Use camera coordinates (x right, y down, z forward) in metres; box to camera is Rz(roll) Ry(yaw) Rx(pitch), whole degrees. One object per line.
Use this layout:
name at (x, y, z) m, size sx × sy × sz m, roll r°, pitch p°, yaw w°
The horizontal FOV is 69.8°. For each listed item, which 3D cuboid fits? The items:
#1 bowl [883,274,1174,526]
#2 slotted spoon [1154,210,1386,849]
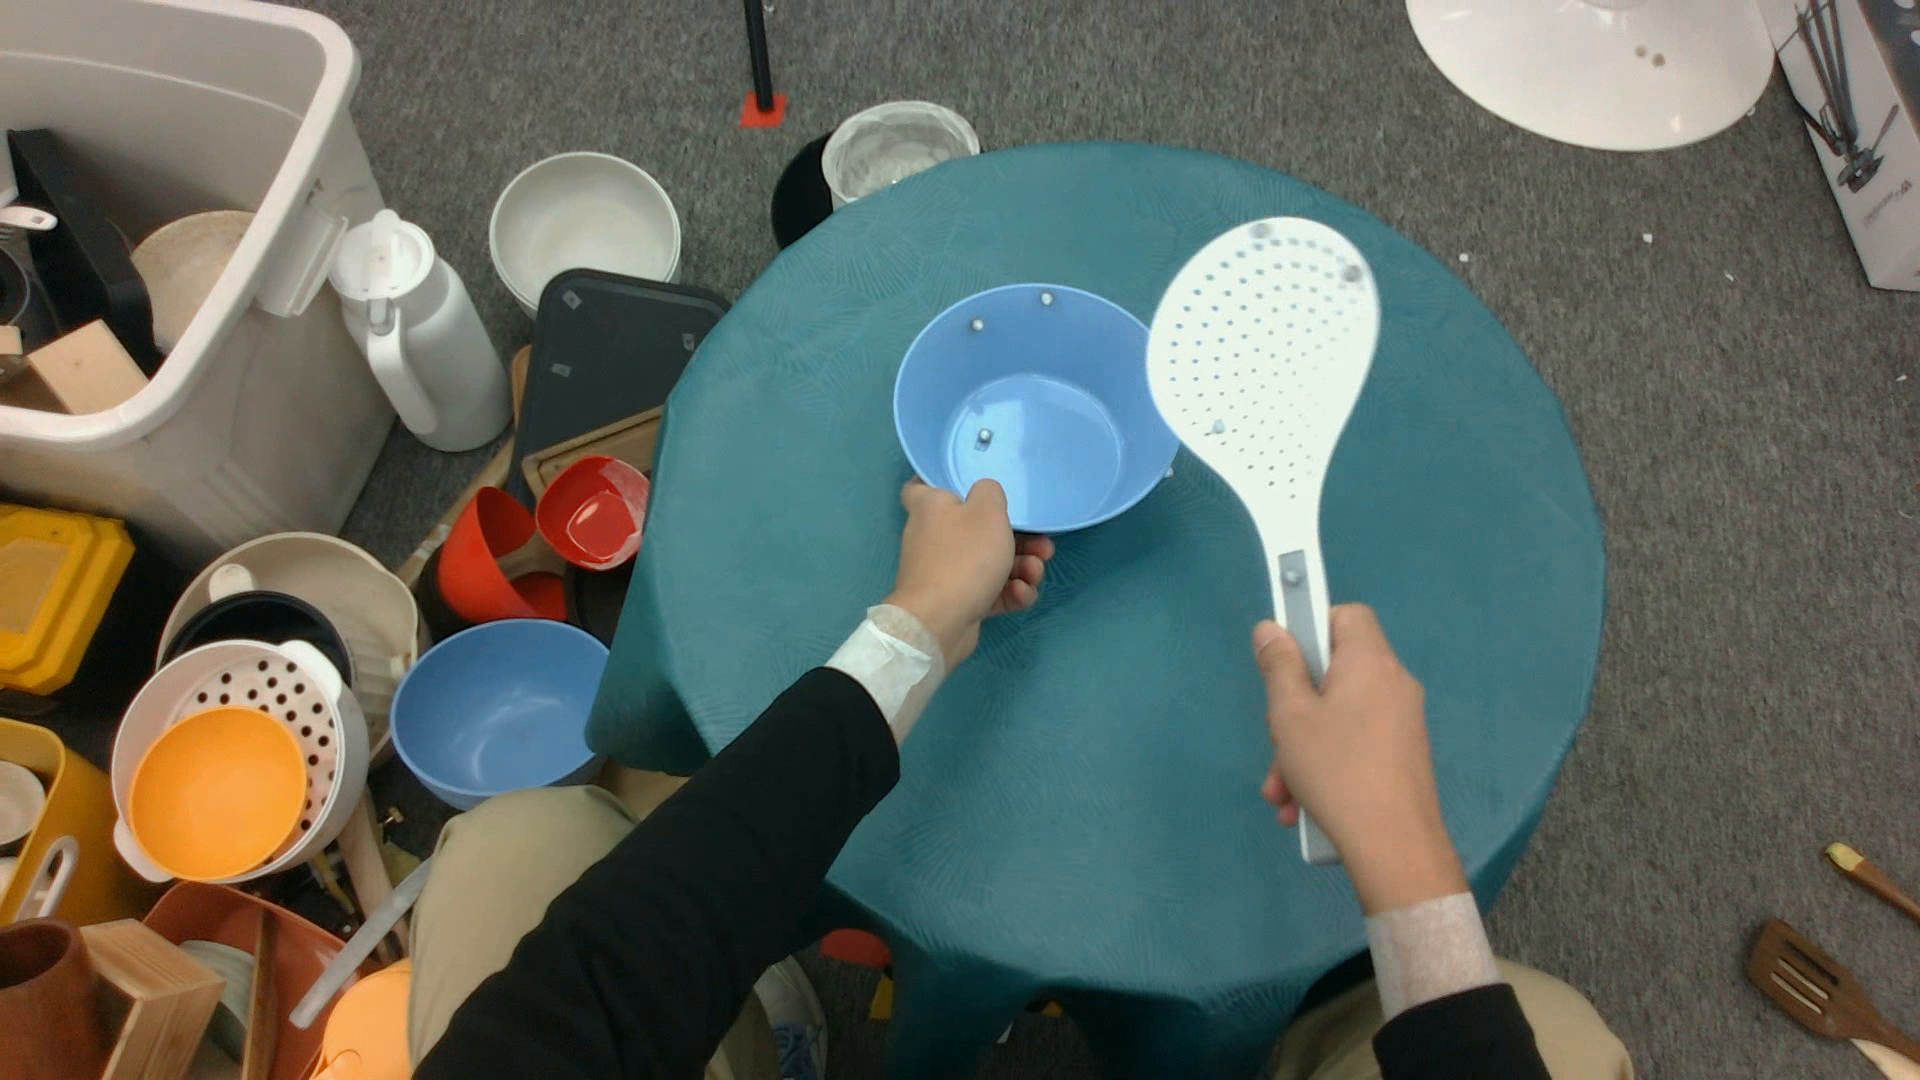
bowl at (0.041, -0.075, 0.855) m, size 0.176 × 0.070 × 0.176 m, roll 1°, pitch 63°, yaw -1°
slotted spoon at (0.174, -0.016, 0.725) m, size 0.135 × 0.046 × 0.351 m, roll -15°, pitch 61°, yaw 32°
